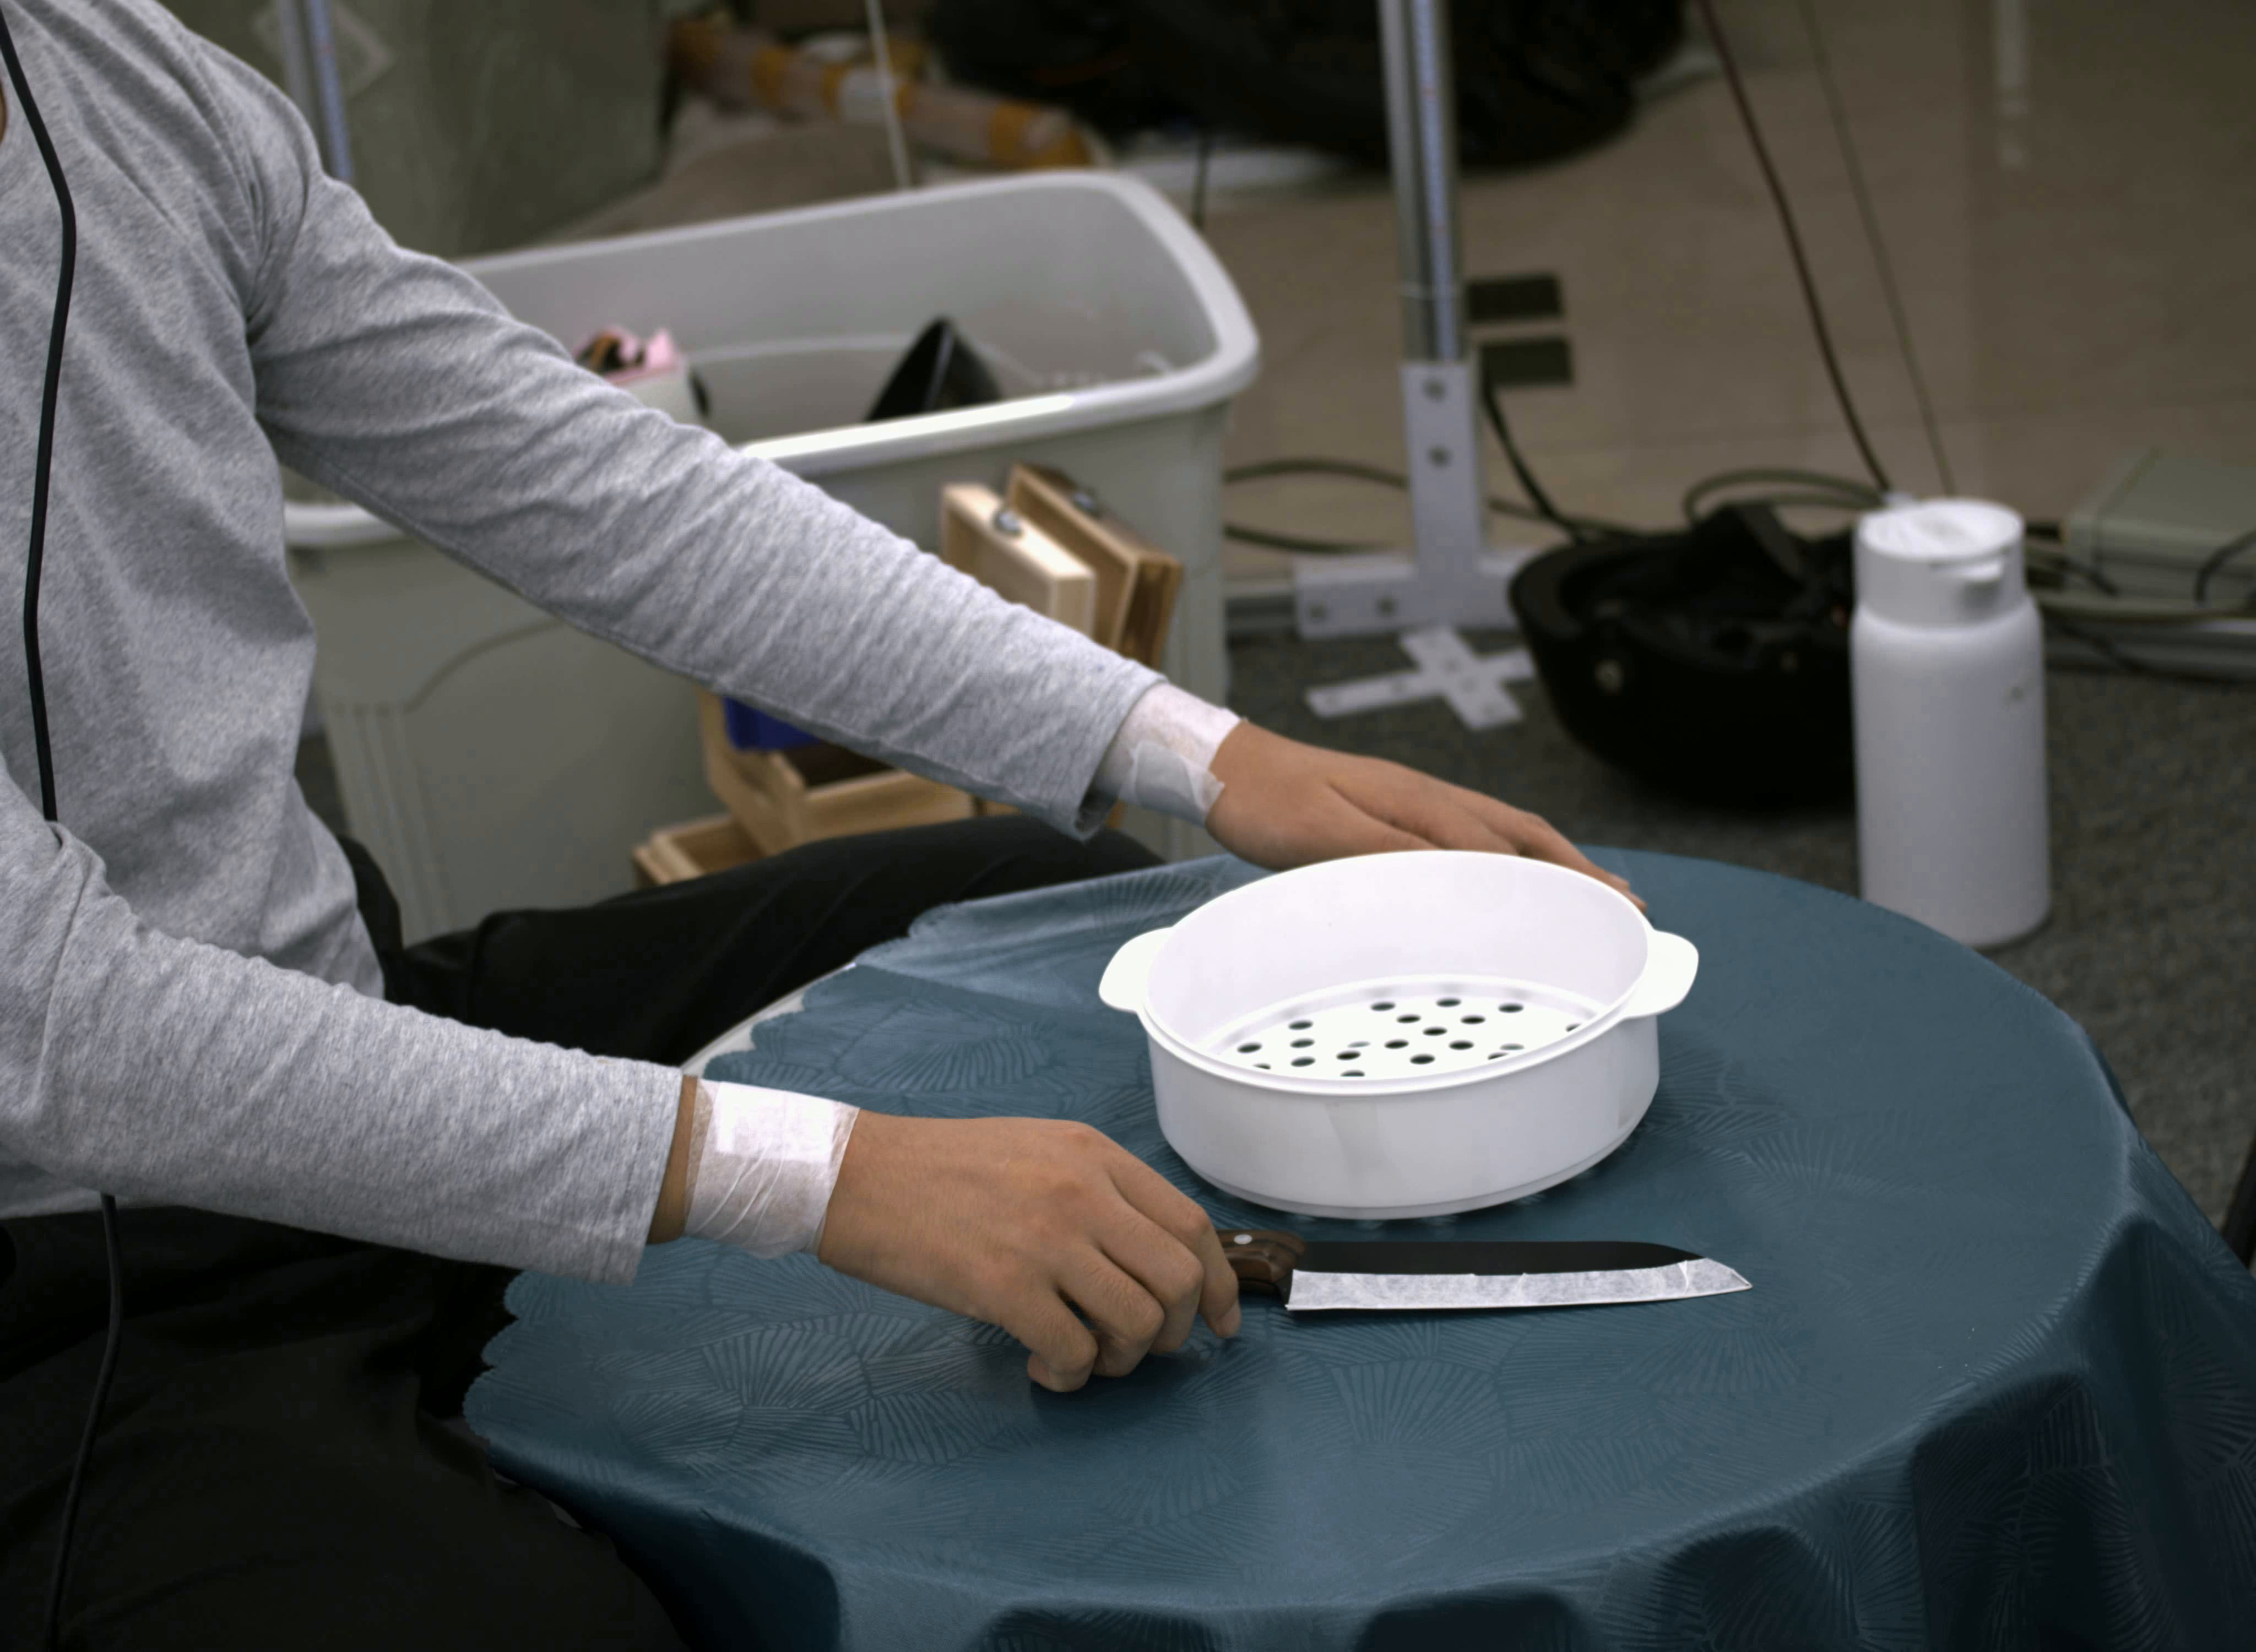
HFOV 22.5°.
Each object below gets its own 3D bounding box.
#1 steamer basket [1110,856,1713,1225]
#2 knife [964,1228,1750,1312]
[{"bbox_3d":[0.110,0.081,2.168,0.230,0.070,0.199,0,25,15],"label":"steamer basket"},{"bbox_3d":[0.081,0.162,2.063,0.288,0.020,0.049,0,30,9],"label":"knife"}]
